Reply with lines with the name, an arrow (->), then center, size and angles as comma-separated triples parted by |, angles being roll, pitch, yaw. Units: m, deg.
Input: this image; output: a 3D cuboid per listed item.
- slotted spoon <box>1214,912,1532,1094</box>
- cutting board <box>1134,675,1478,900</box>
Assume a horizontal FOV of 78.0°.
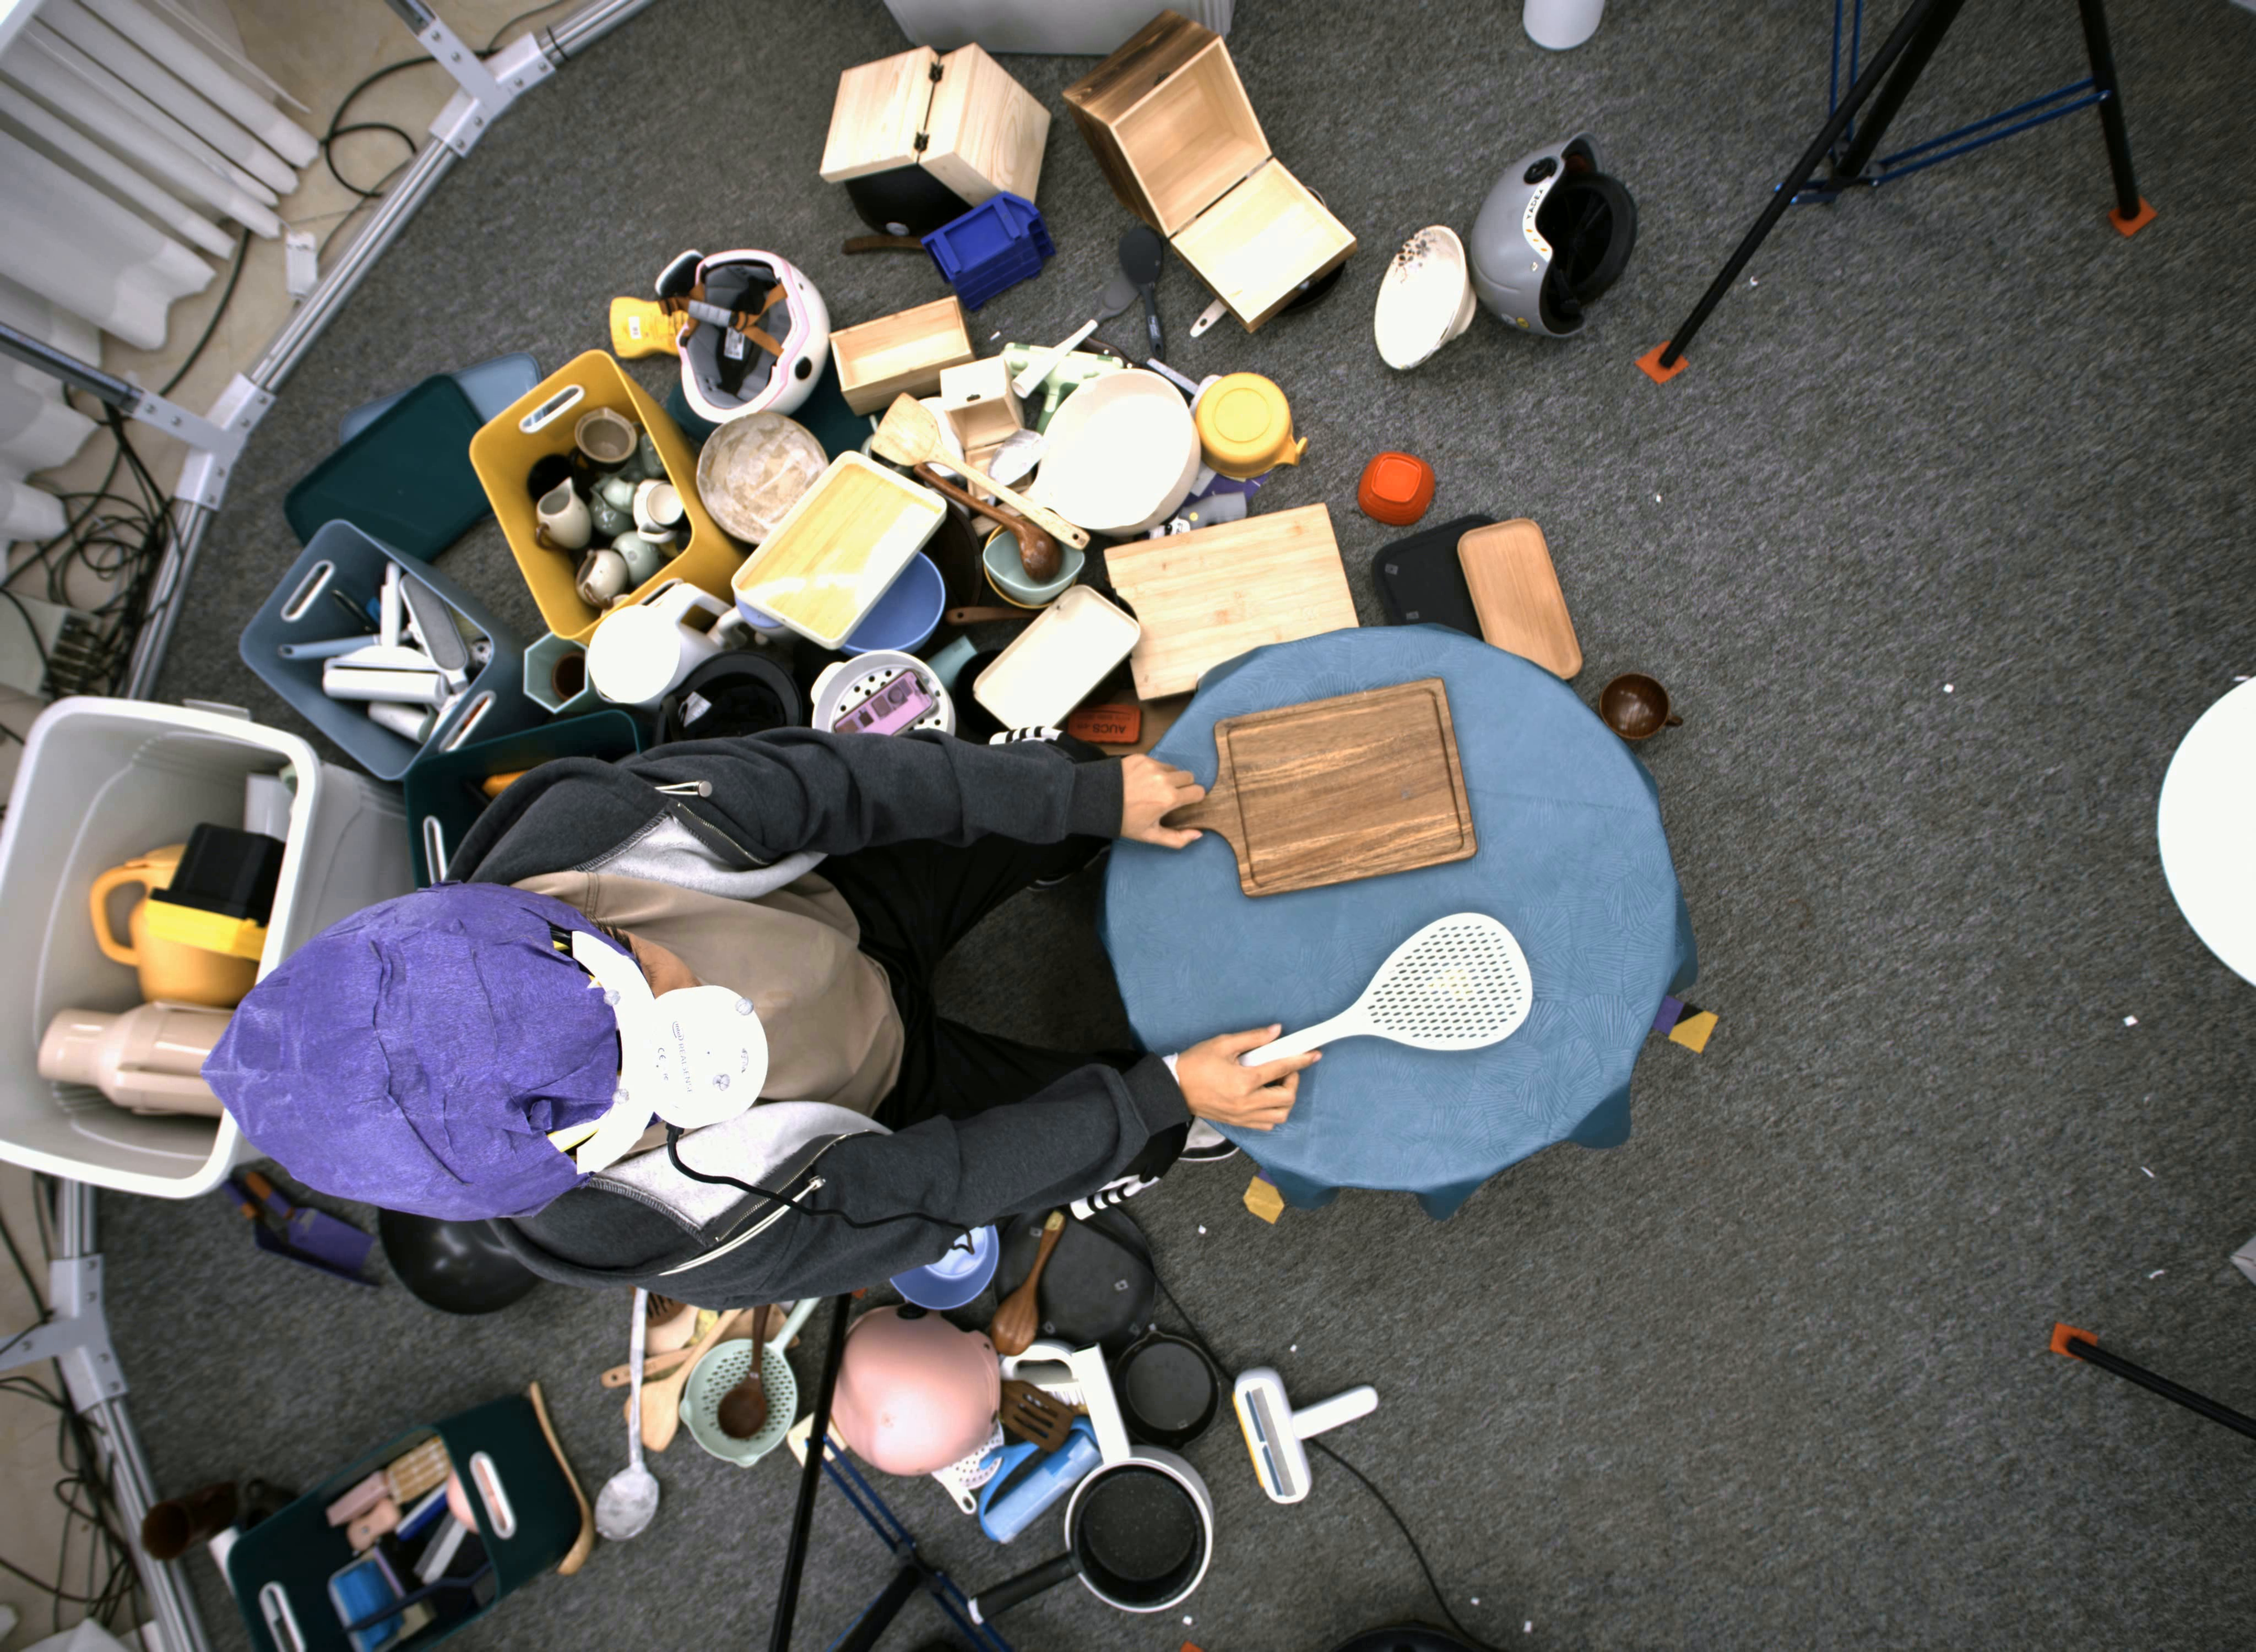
slotted spoon -> 0.244, 0.200, 1.436 | 0.350, 0.050, 0.136 | -23, 82, 8
cutting board -> 0.179, -0.033, 1.471 | 0.354, 0.023, 0.200 | -11, 84, 9
